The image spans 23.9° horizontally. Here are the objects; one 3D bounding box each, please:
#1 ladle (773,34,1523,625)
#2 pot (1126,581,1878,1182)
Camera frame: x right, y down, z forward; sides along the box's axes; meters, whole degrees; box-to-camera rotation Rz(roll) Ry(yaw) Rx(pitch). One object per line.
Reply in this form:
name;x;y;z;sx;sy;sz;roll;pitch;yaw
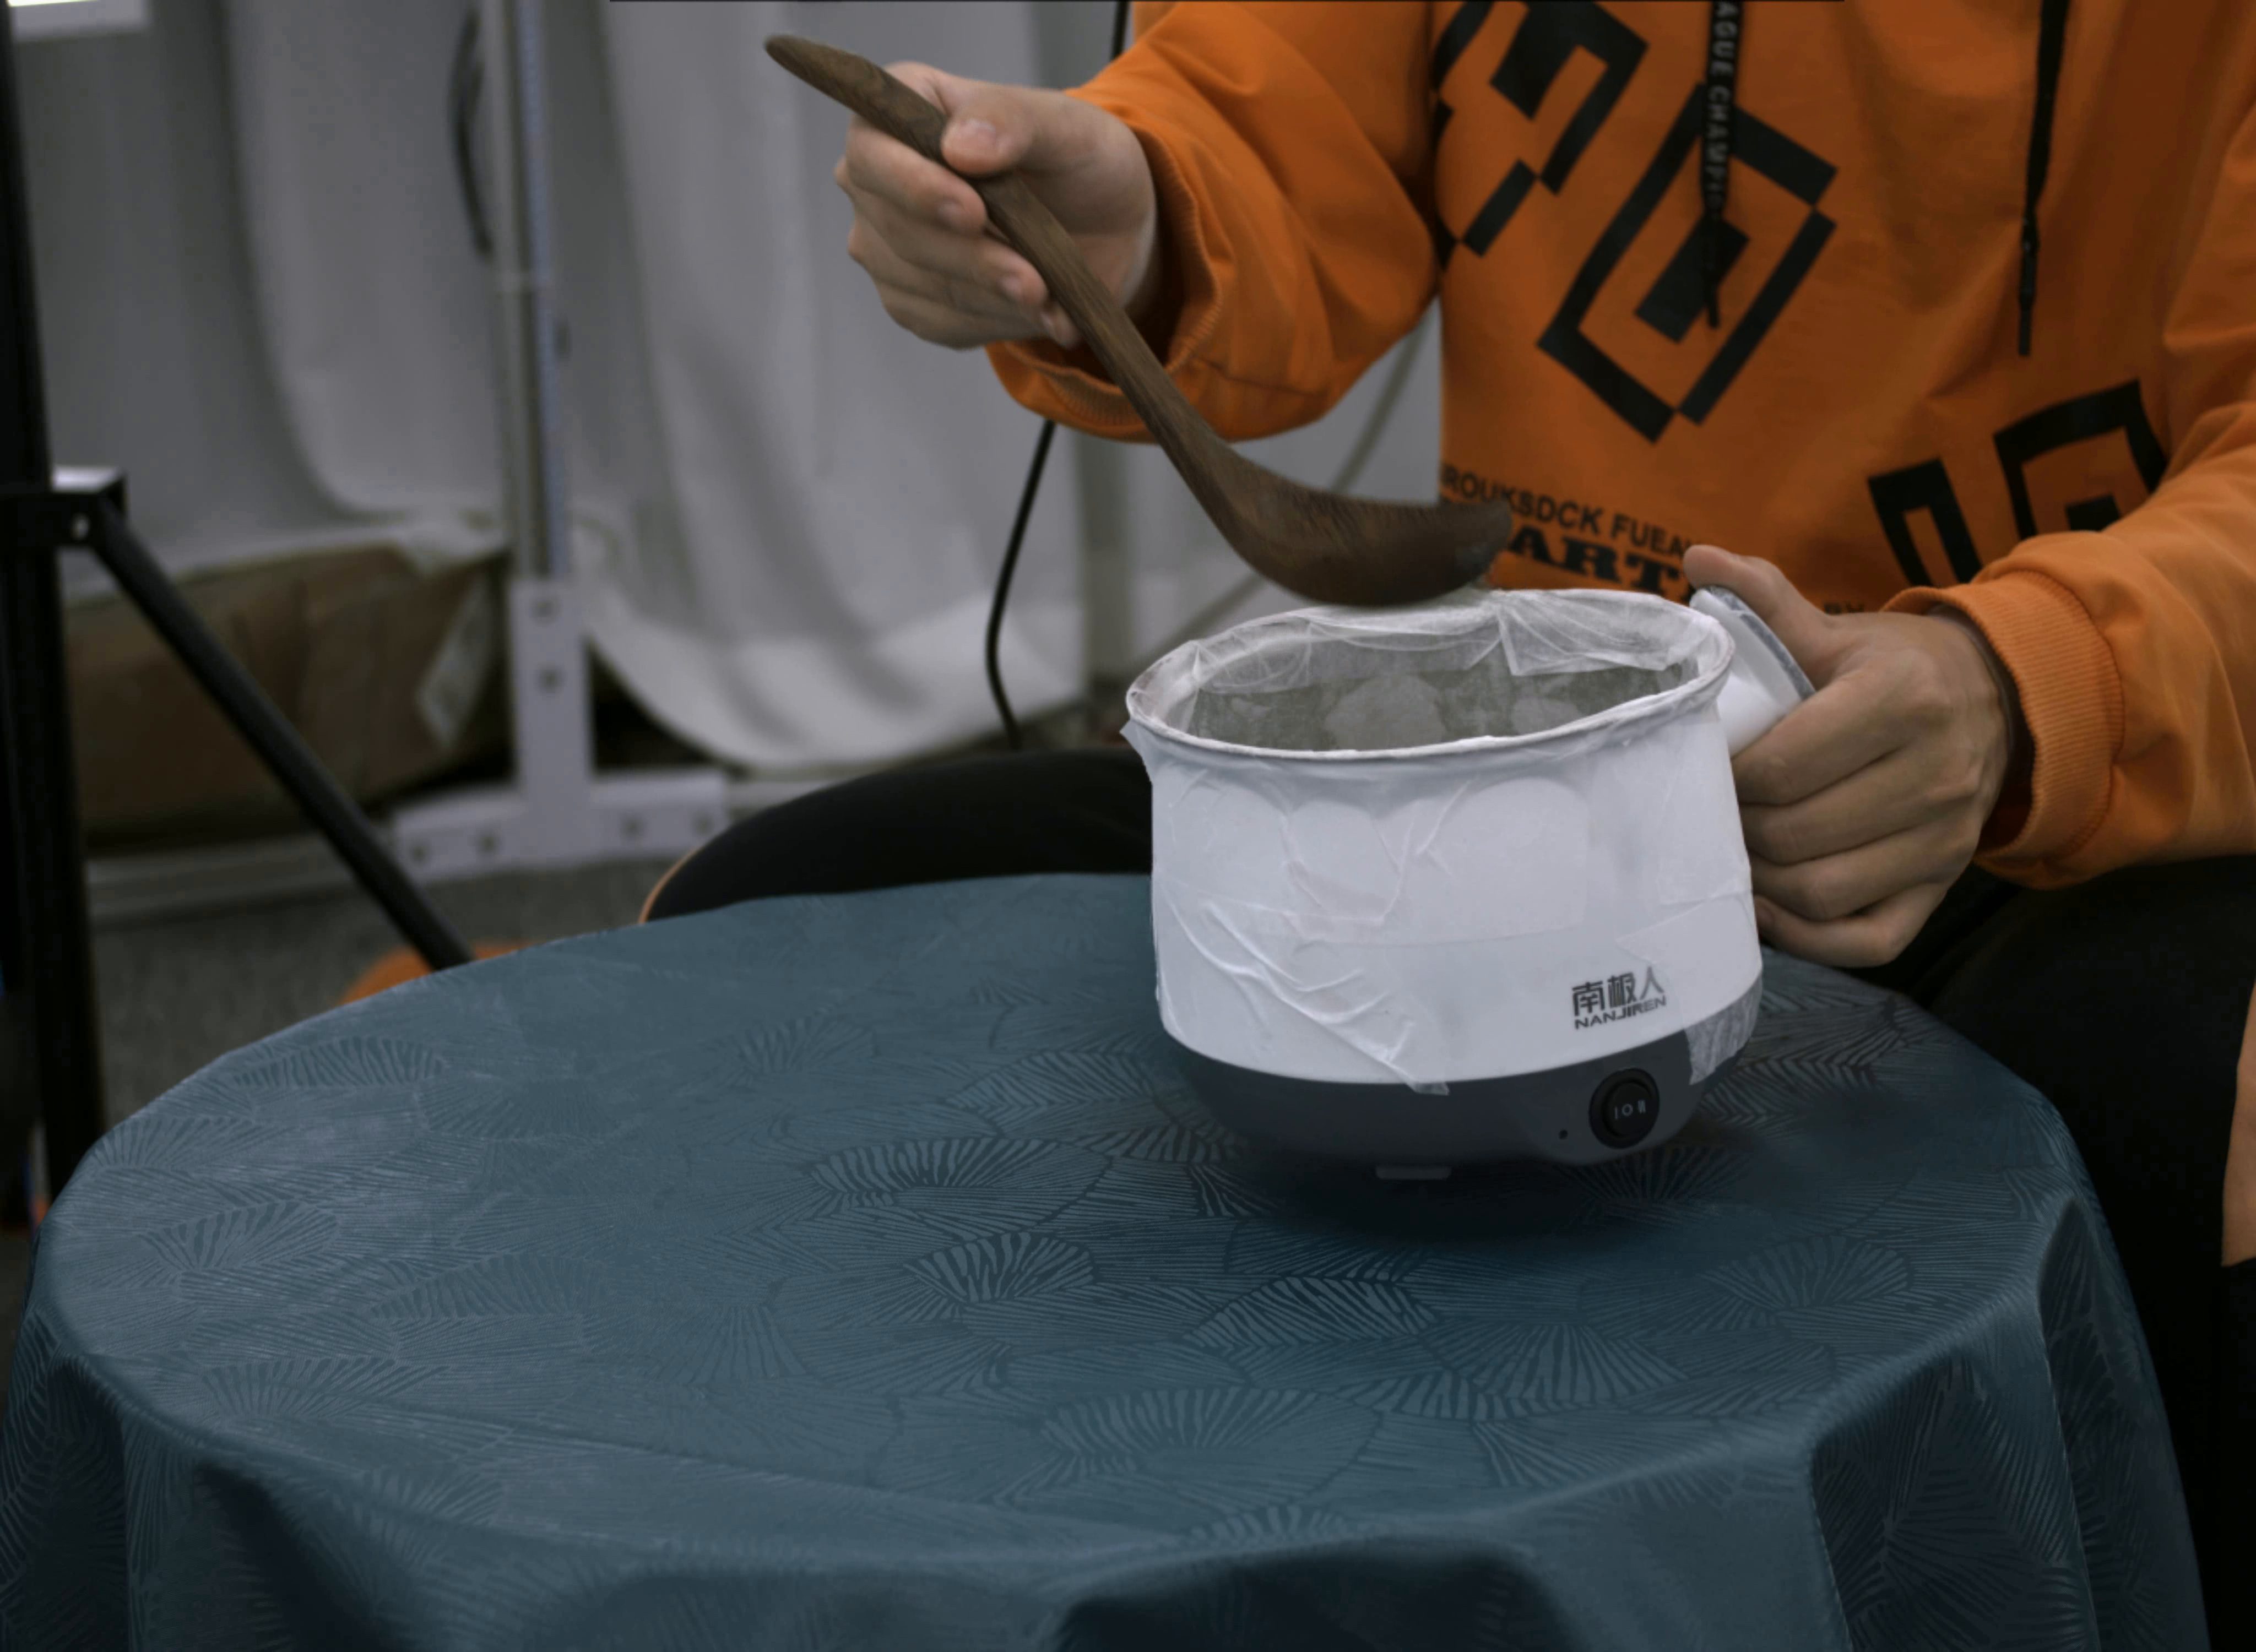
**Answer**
ladle;0.005;-0.158;1.558;0.277;0.072;0.074;49;28;15
pot;0.117;0.009;1.558;0.229;0.136;0.182;-14;18;-26
